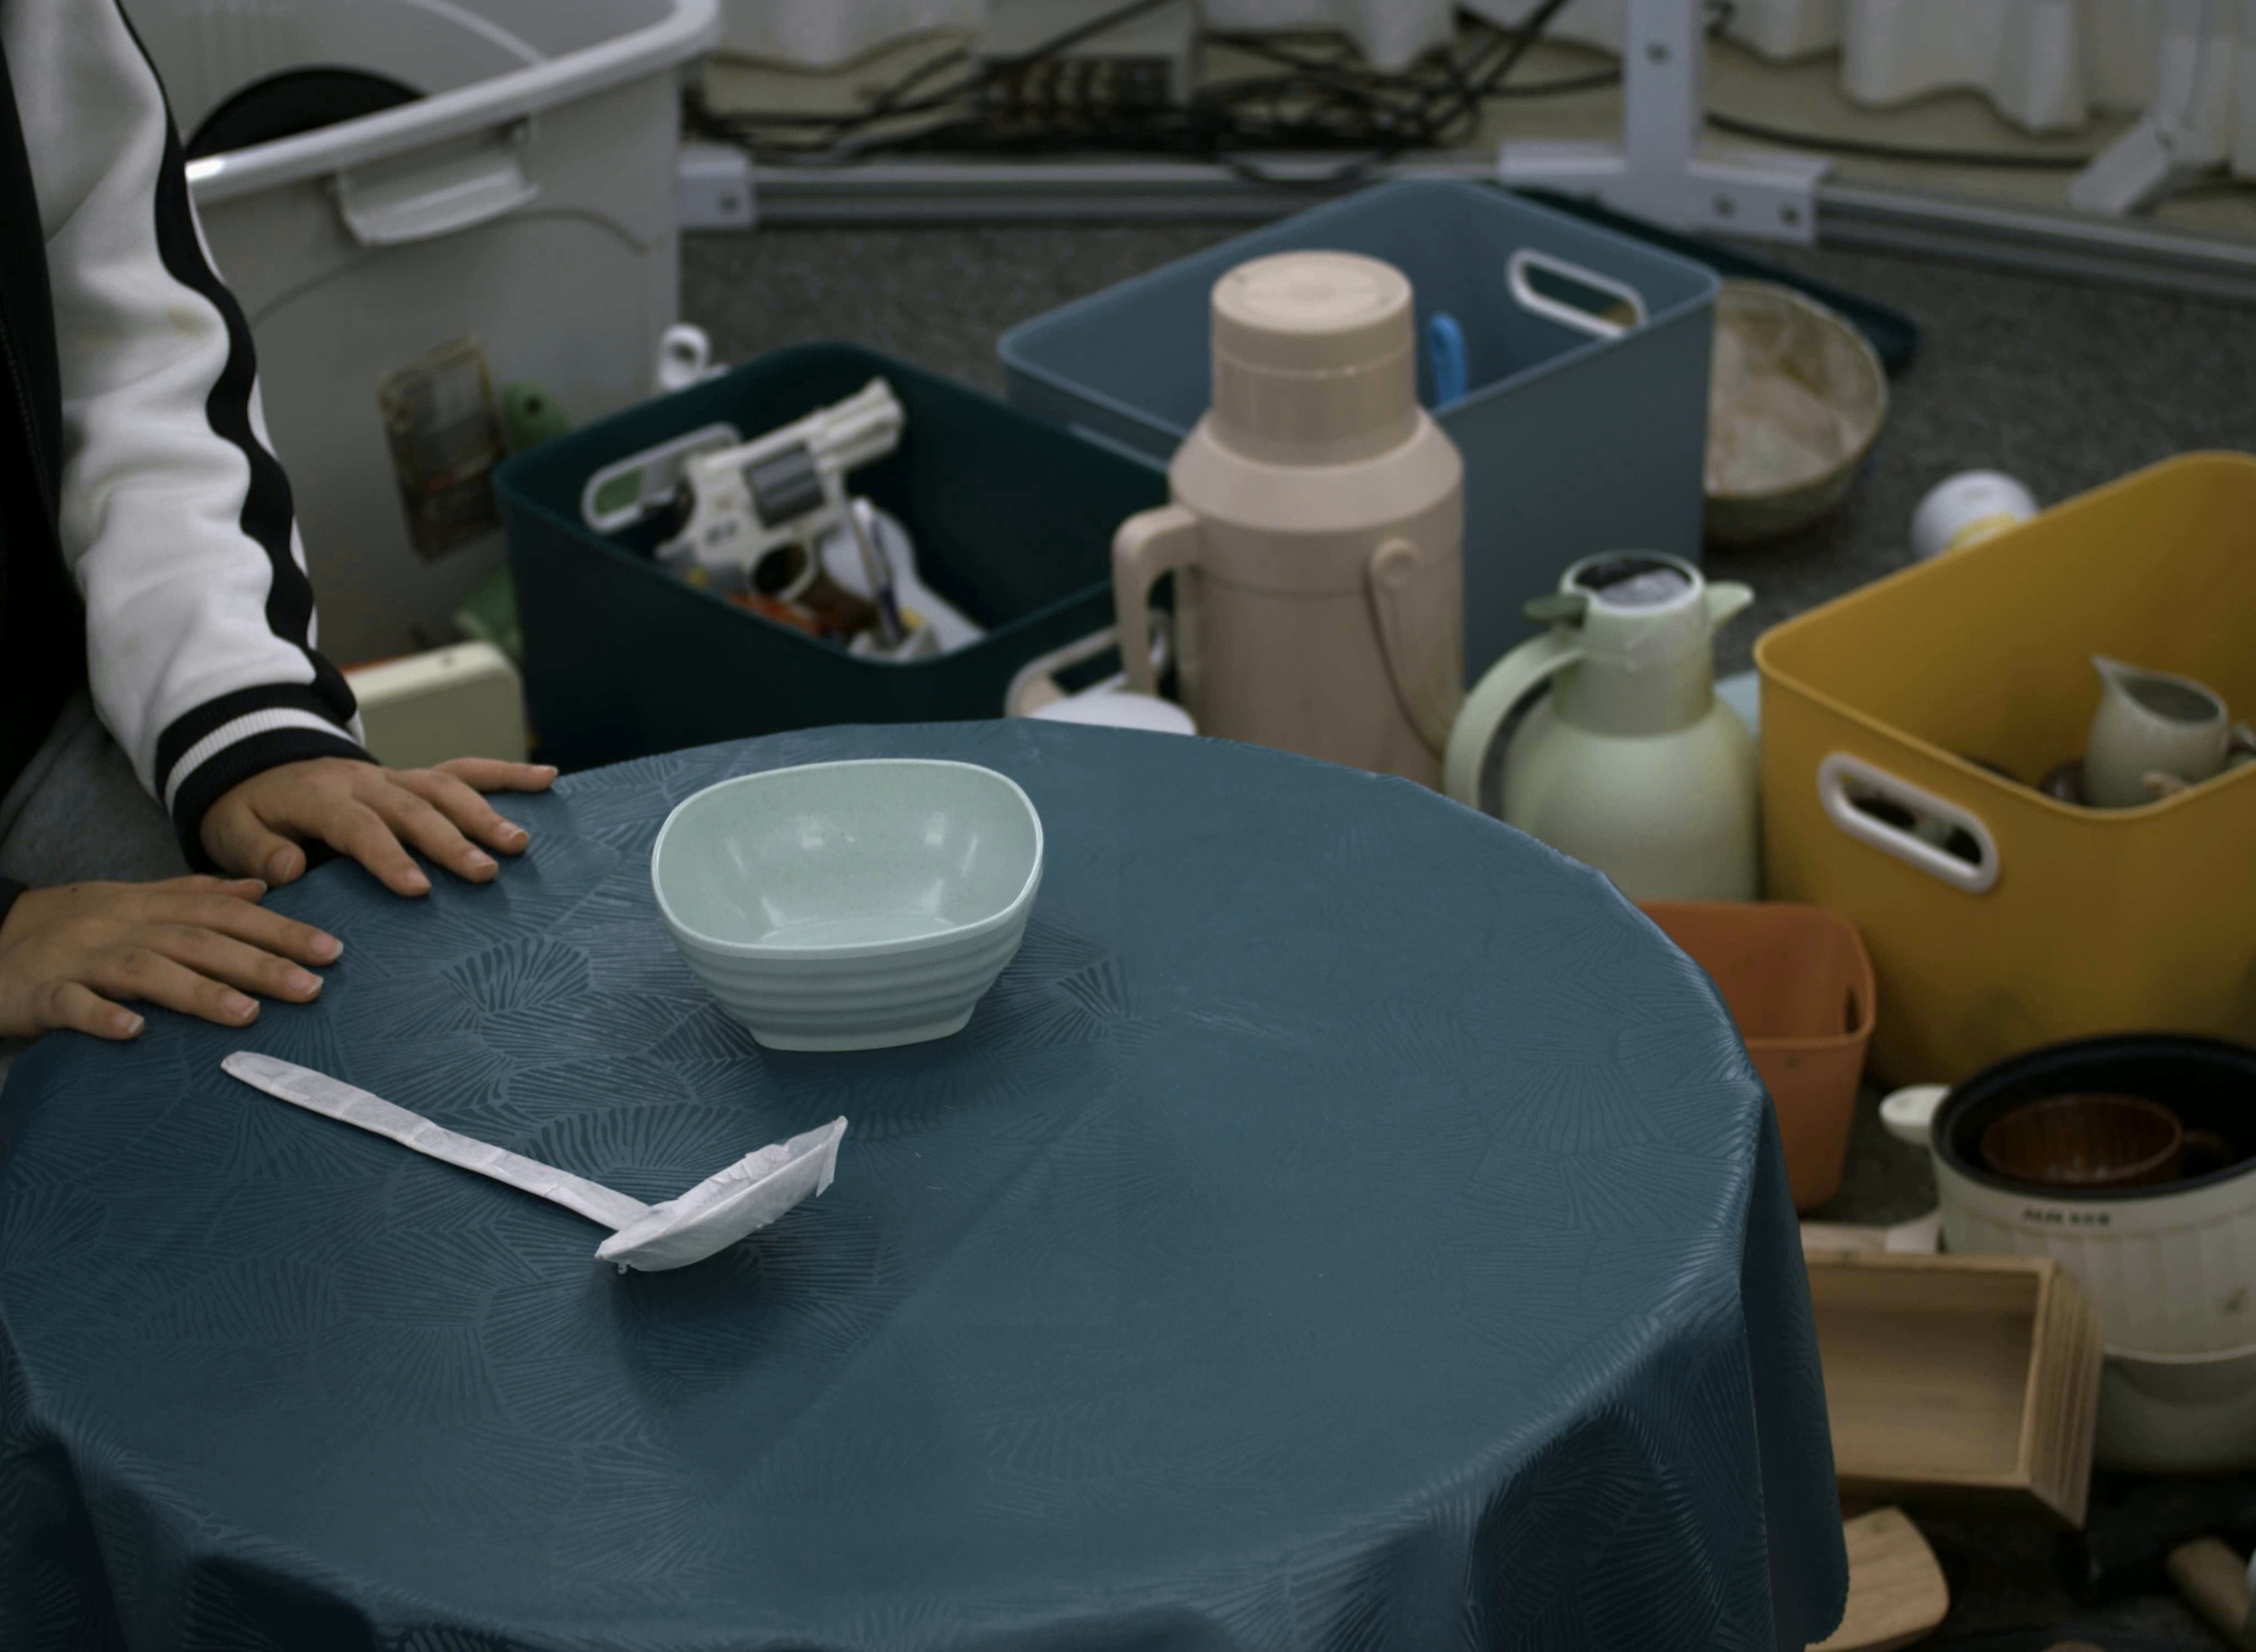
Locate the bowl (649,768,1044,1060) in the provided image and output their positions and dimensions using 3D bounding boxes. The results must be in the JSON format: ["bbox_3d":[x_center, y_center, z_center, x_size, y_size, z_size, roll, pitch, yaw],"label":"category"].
[{"bbox_3d":[-0.097,0.037,1.979,0.151,0.058,0.154,-2,27,1],"label":"bowl"}]

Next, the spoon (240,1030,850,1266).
[{"bbox_3d":[-0.204,0.090,1.882,0.276,0.059,0.102,21,31,38],"label":"spoon"}]
